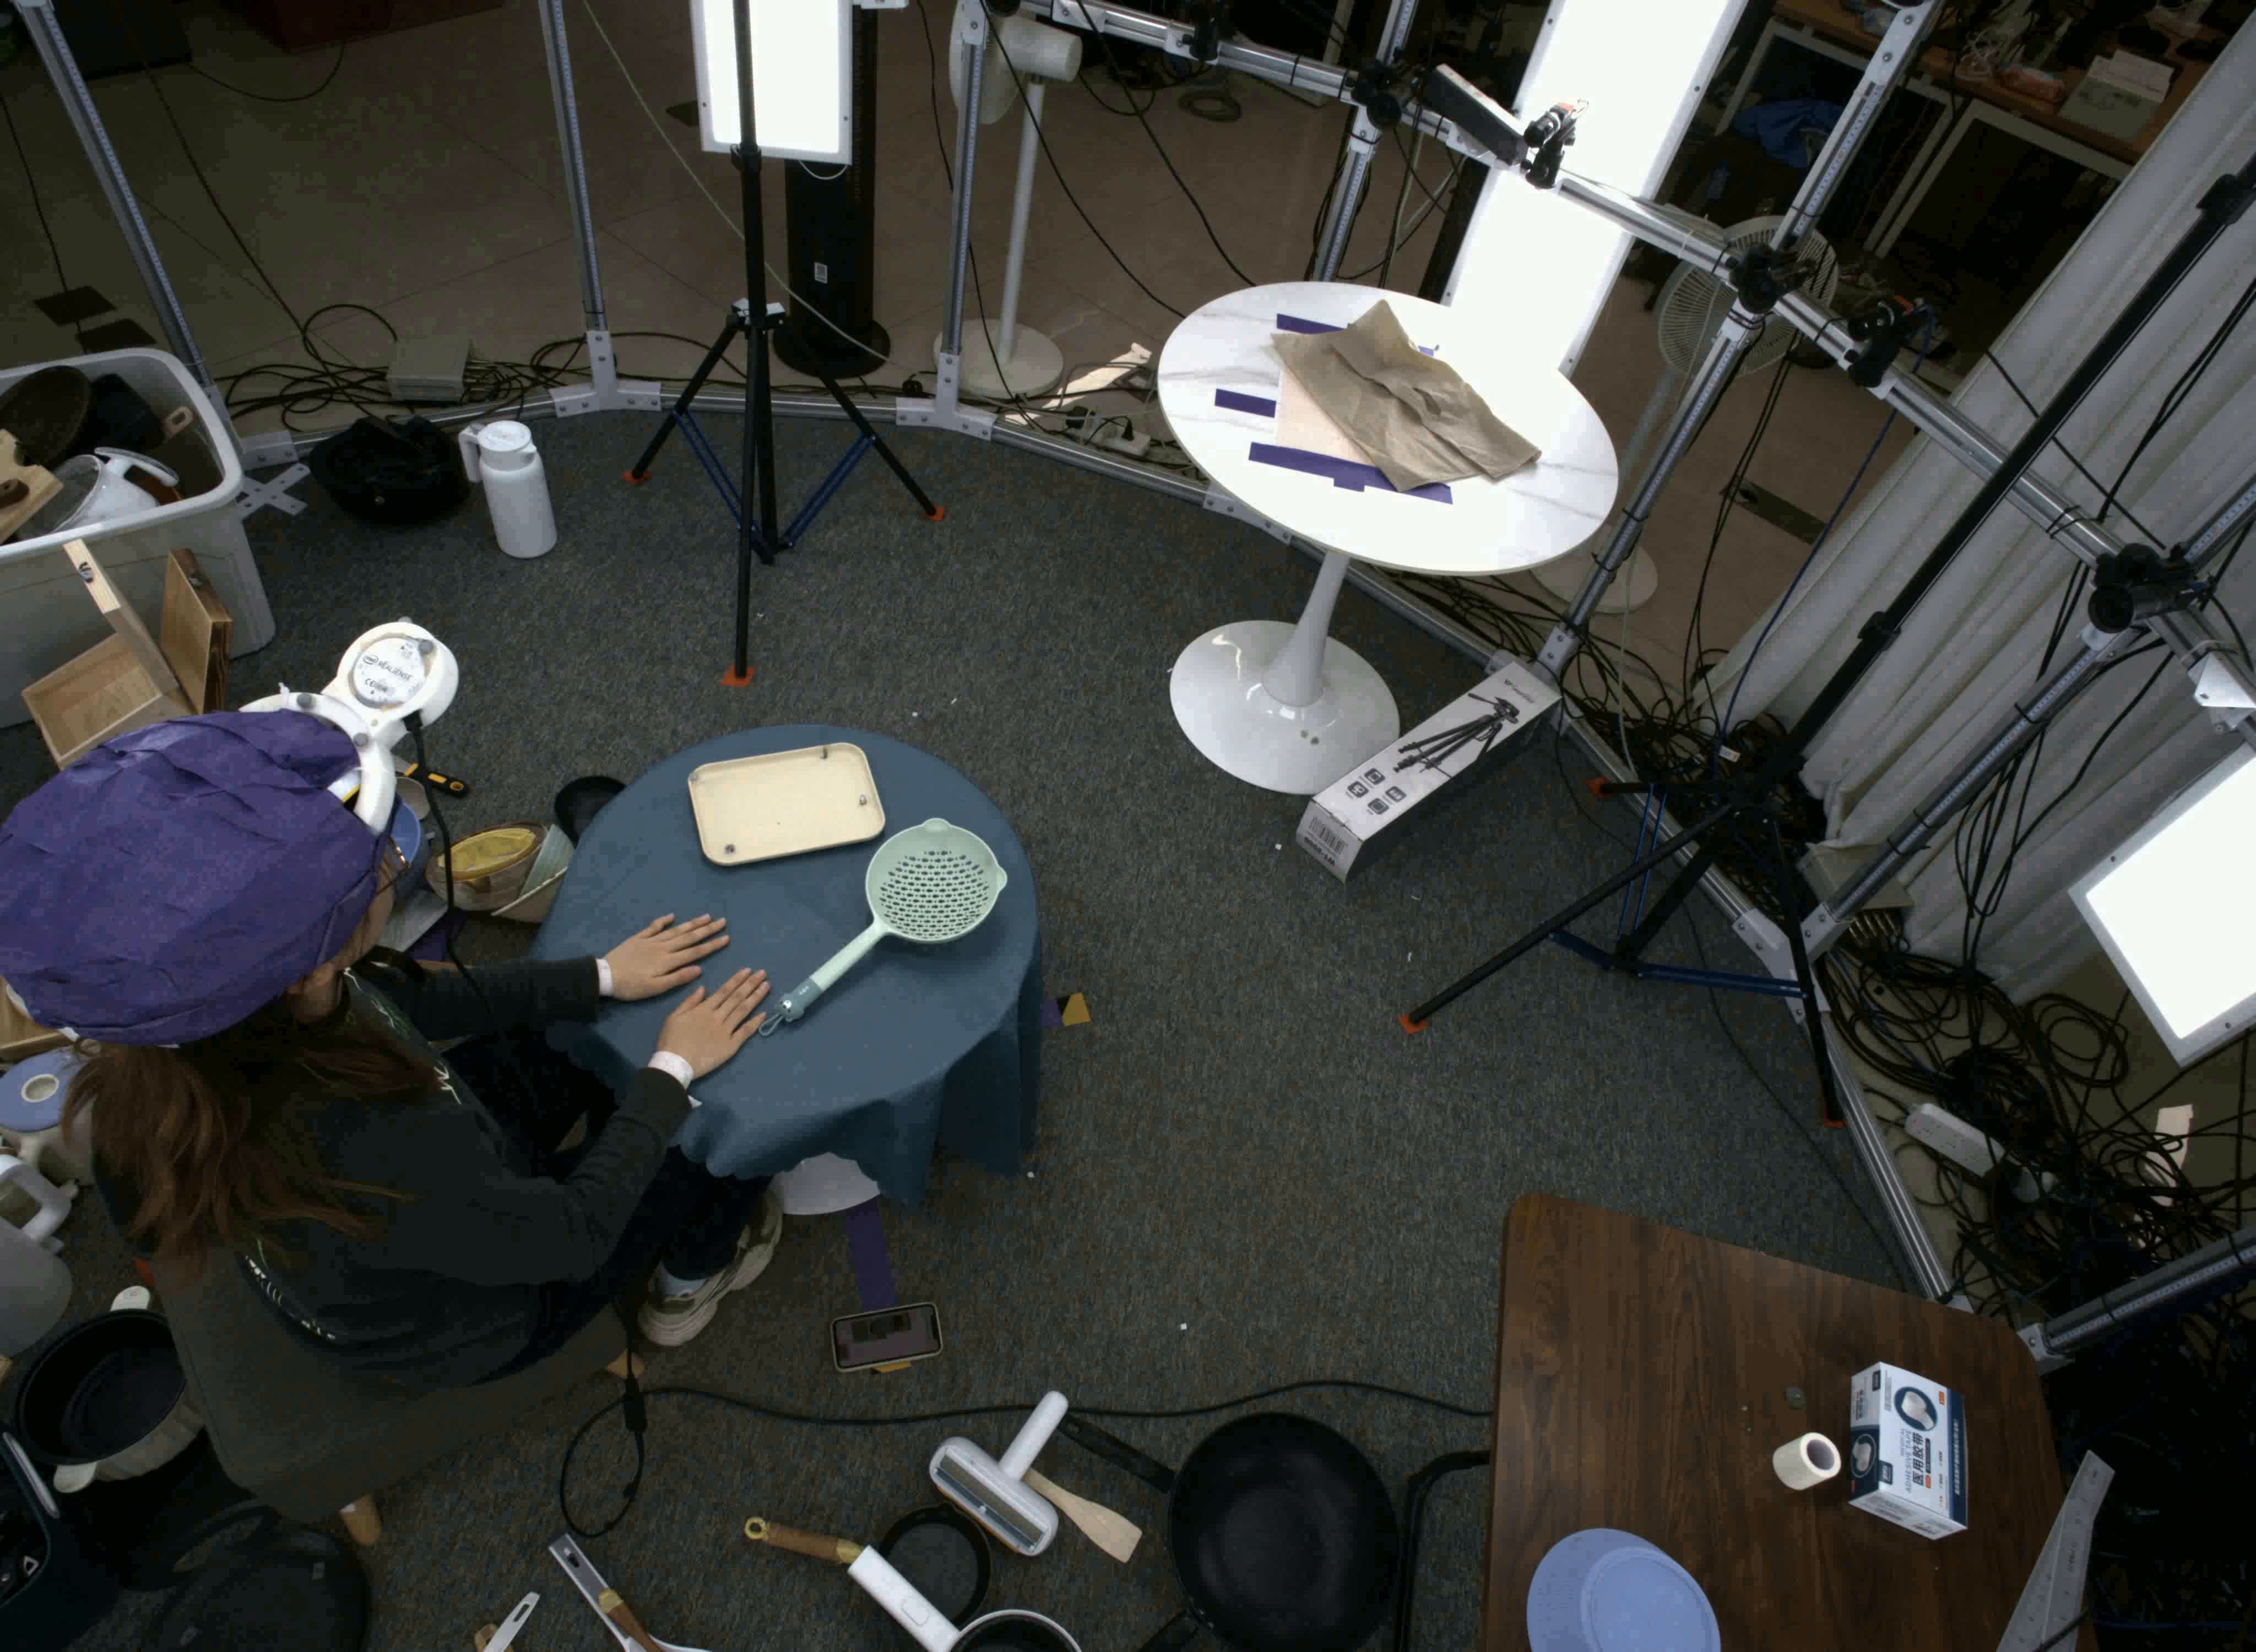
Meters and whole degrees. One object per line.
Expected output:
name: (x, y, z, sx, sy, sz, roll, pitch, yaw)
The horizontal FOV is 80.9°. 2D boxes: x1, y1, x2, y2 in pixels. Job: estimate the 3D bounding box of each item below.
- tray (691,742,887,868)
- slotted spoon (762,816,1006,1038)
tray: (-0.454, -0.030, 1.733, 0.240, 0.018, 0.167, -12, 58, -21)
slotted spoon: (-0.313, 0.132, 1.619, 0.165, 0.077, 0.359, 39, 55, 17)
